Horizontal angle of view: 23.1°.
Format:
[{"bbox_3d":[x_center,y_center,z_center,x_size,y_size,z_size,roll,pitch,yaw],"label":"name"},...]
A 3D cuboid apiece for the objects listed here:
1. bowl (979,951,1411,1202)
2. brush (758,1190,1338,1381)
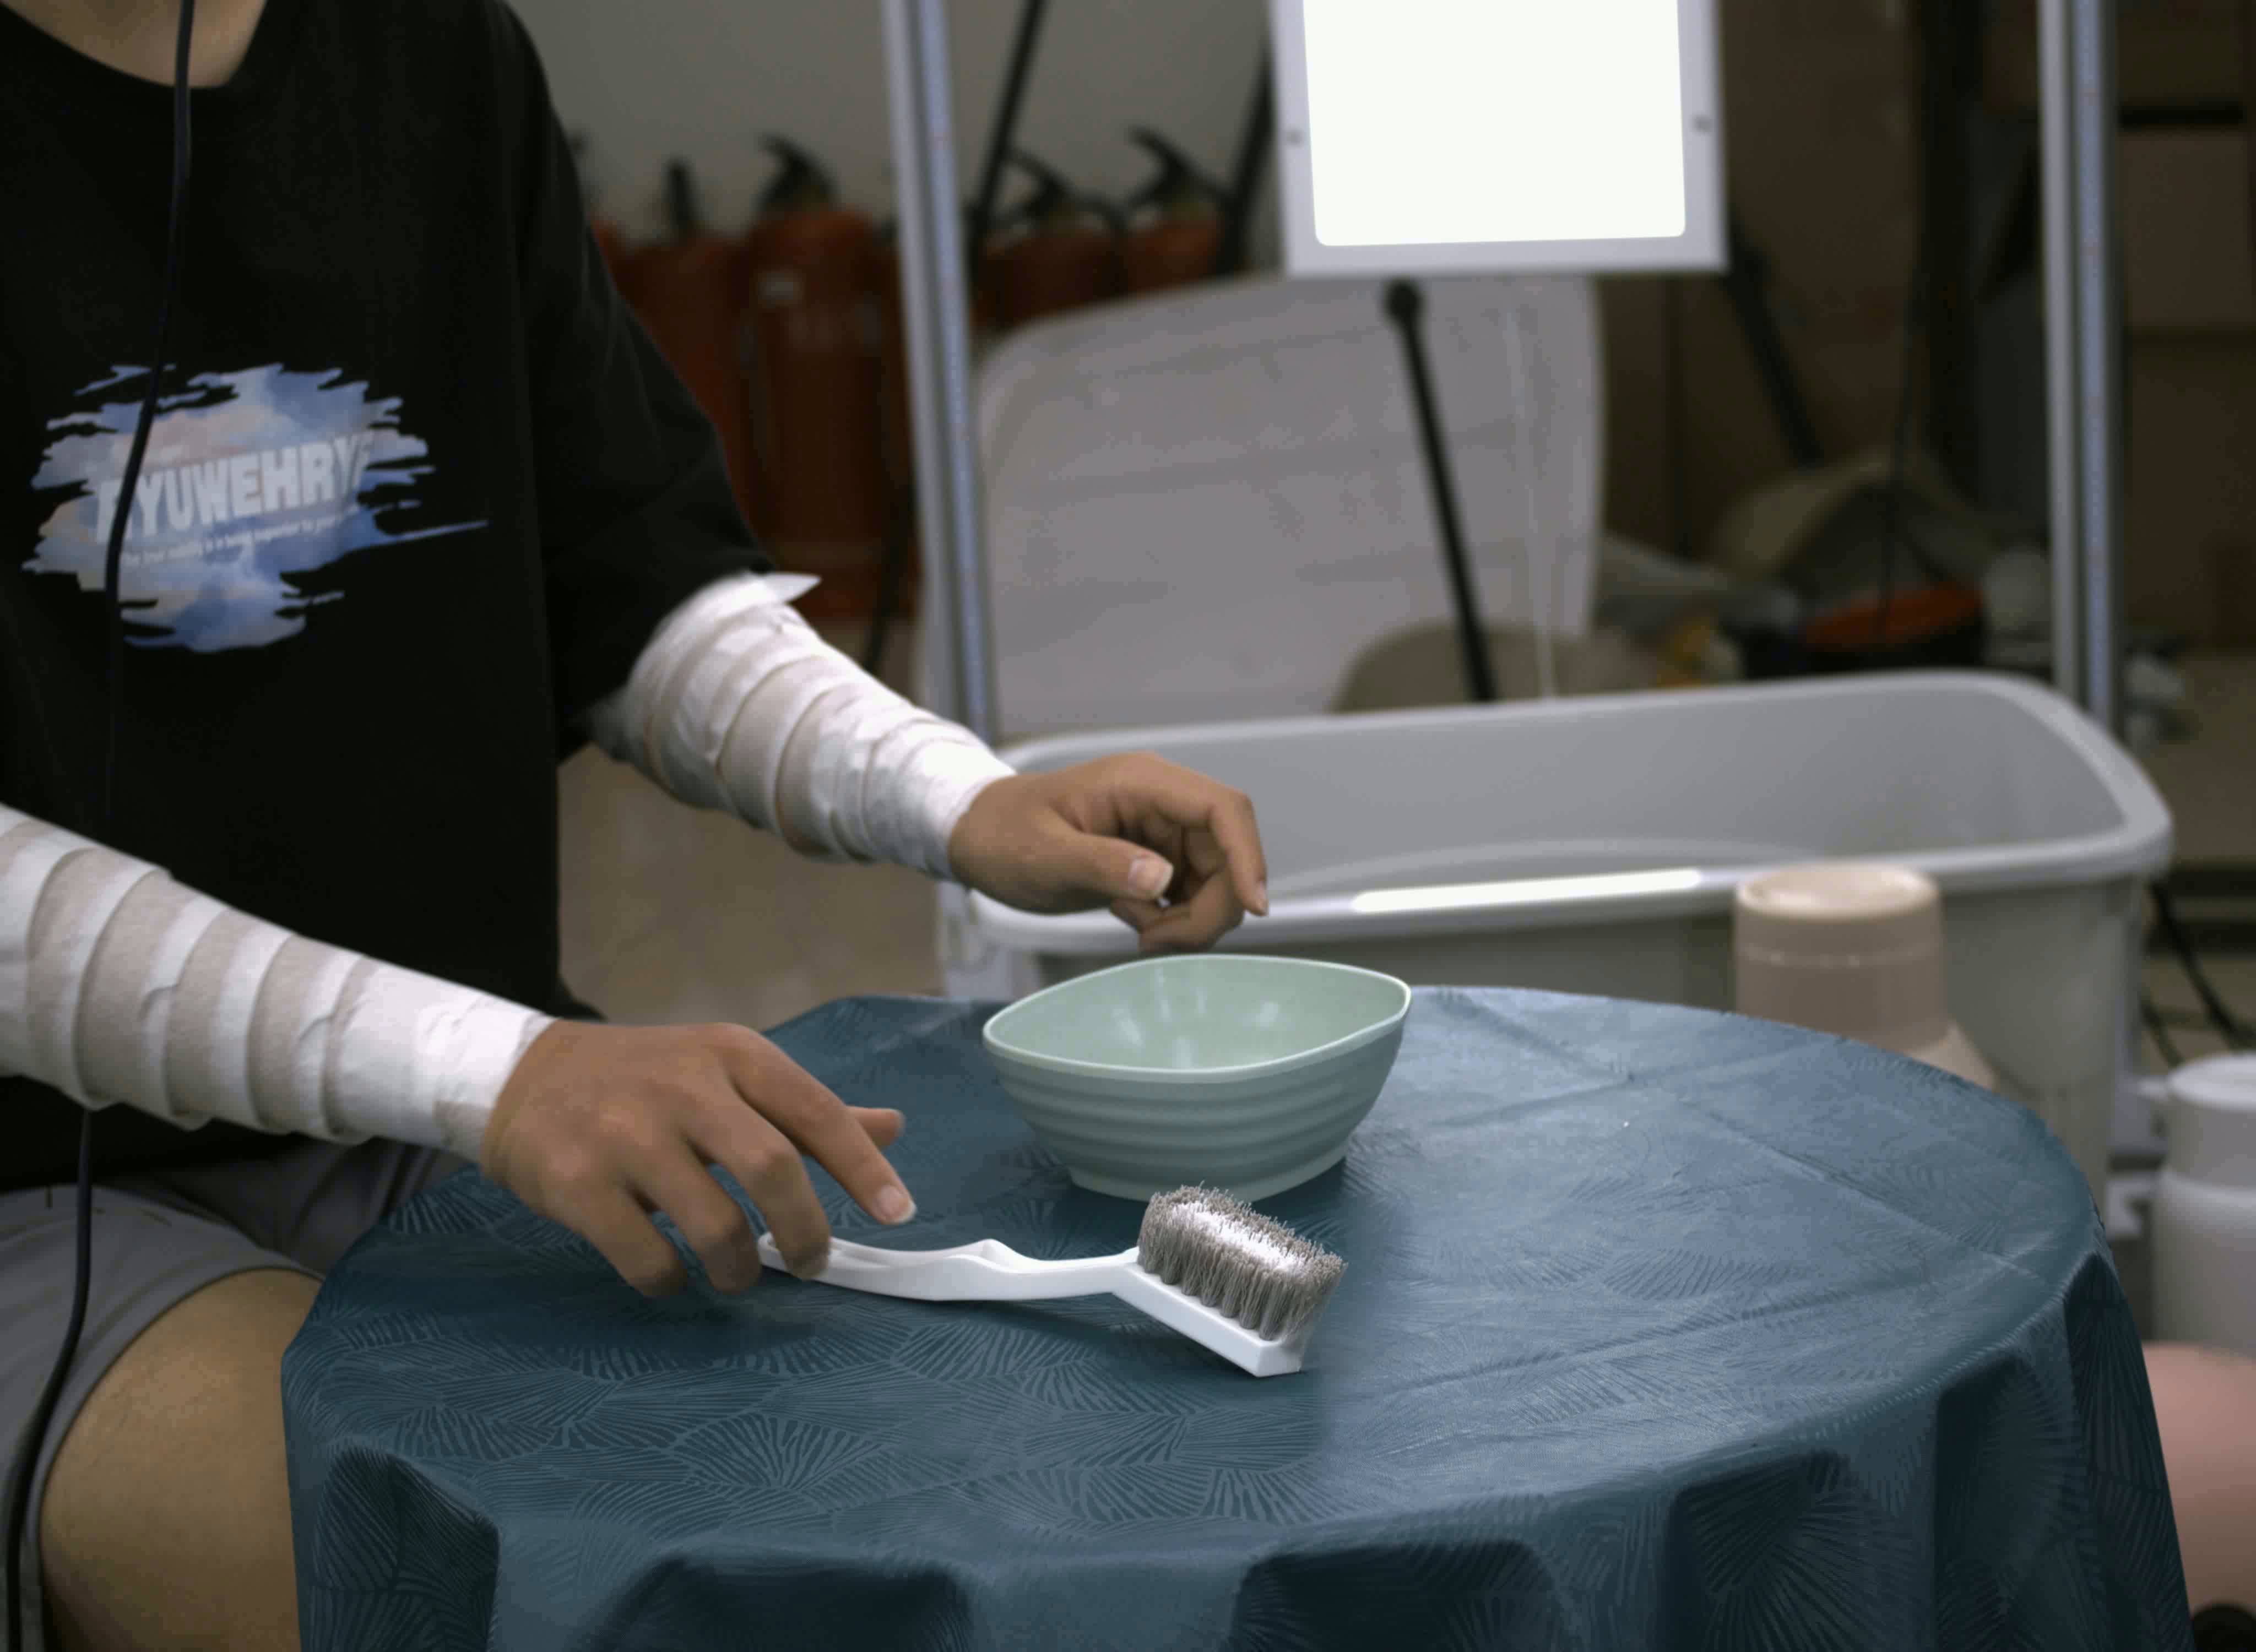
[{"bbox_3d":[0.024,0.089,1.911,0.151,0.059,0.151,-2,13,-1],"label":"bowl"},{"bbox_3d":[-0.032,0.132,1.777,0.249,0.050,0.033,9,19,43],"label":"brush"}]
